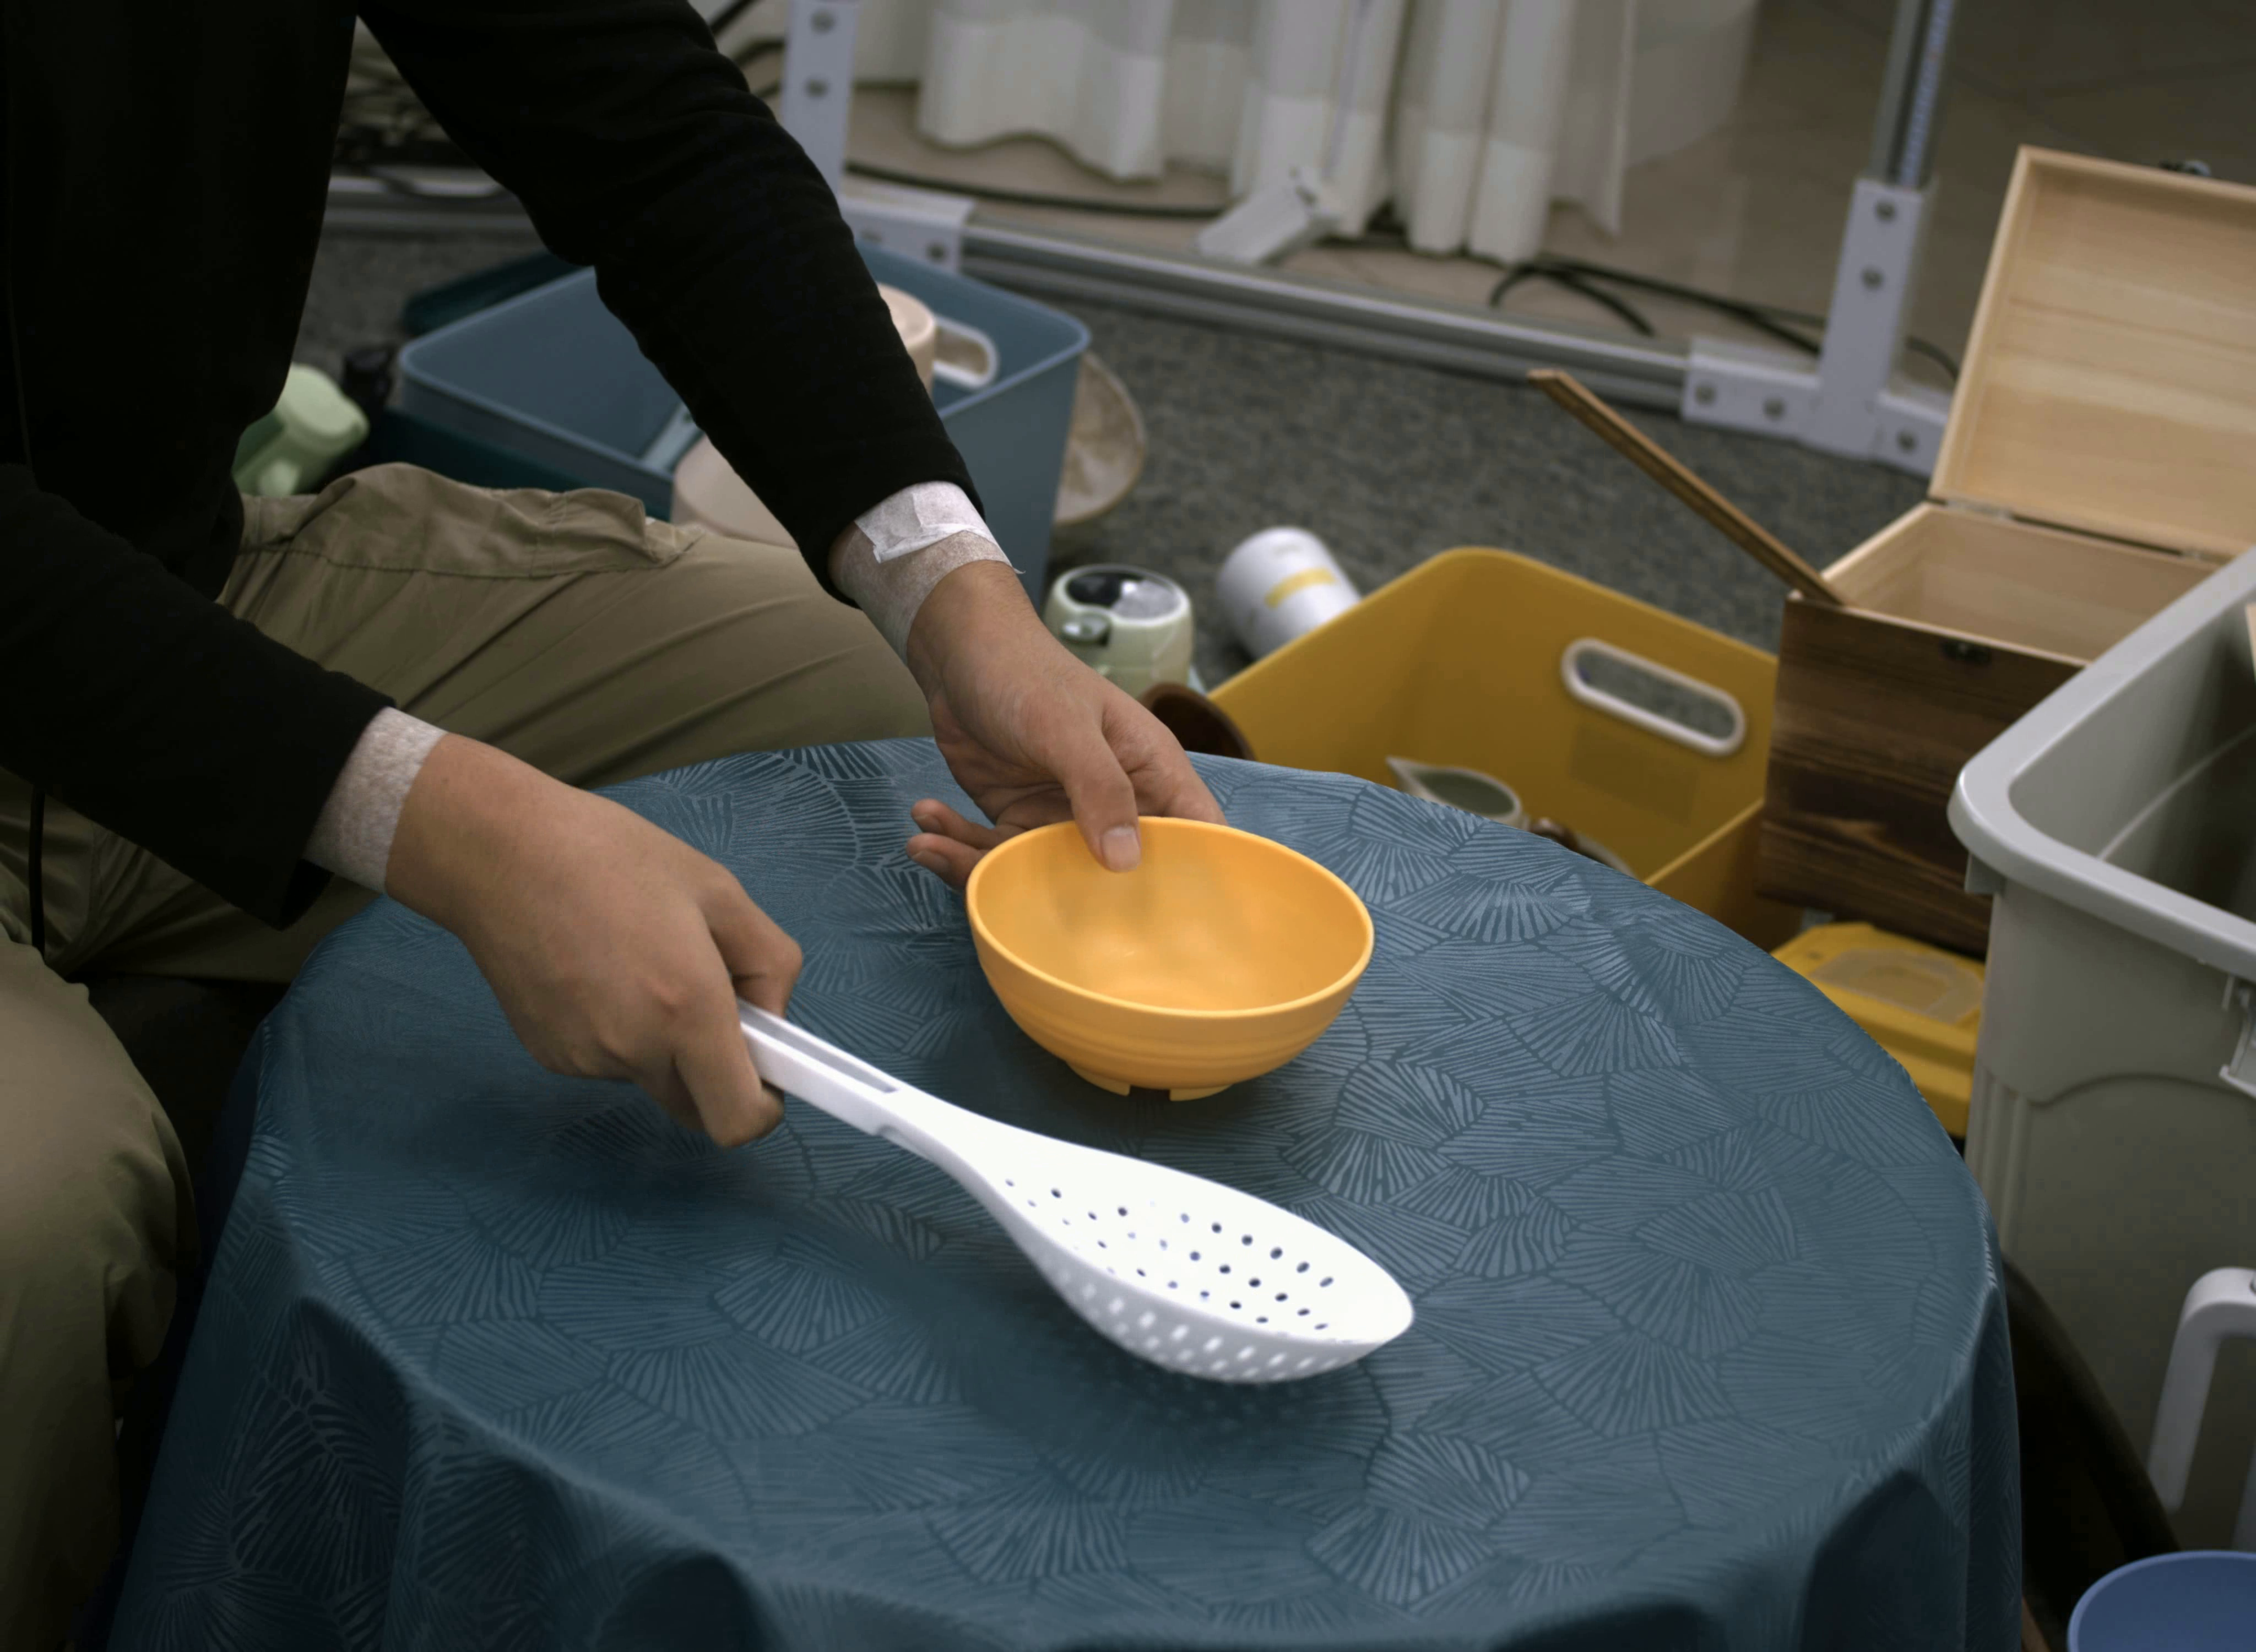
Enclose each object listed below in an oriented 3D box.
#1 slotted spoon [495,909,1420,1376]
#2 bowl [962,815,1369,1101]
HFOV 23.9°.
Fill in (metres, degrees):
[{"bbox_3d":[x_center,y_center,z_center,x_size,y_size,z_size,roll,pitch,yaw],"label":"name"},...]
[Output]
[{"bbox_3d":[-0.064,0.099,1.741,0.351,0.046,0.135,29,13,23],"label":"slotted spoon"},{"bbox_3d":[0.010,0.056,1.875,0.145,0.060,0.146,7,27,-4],"label":"bowl"}]
